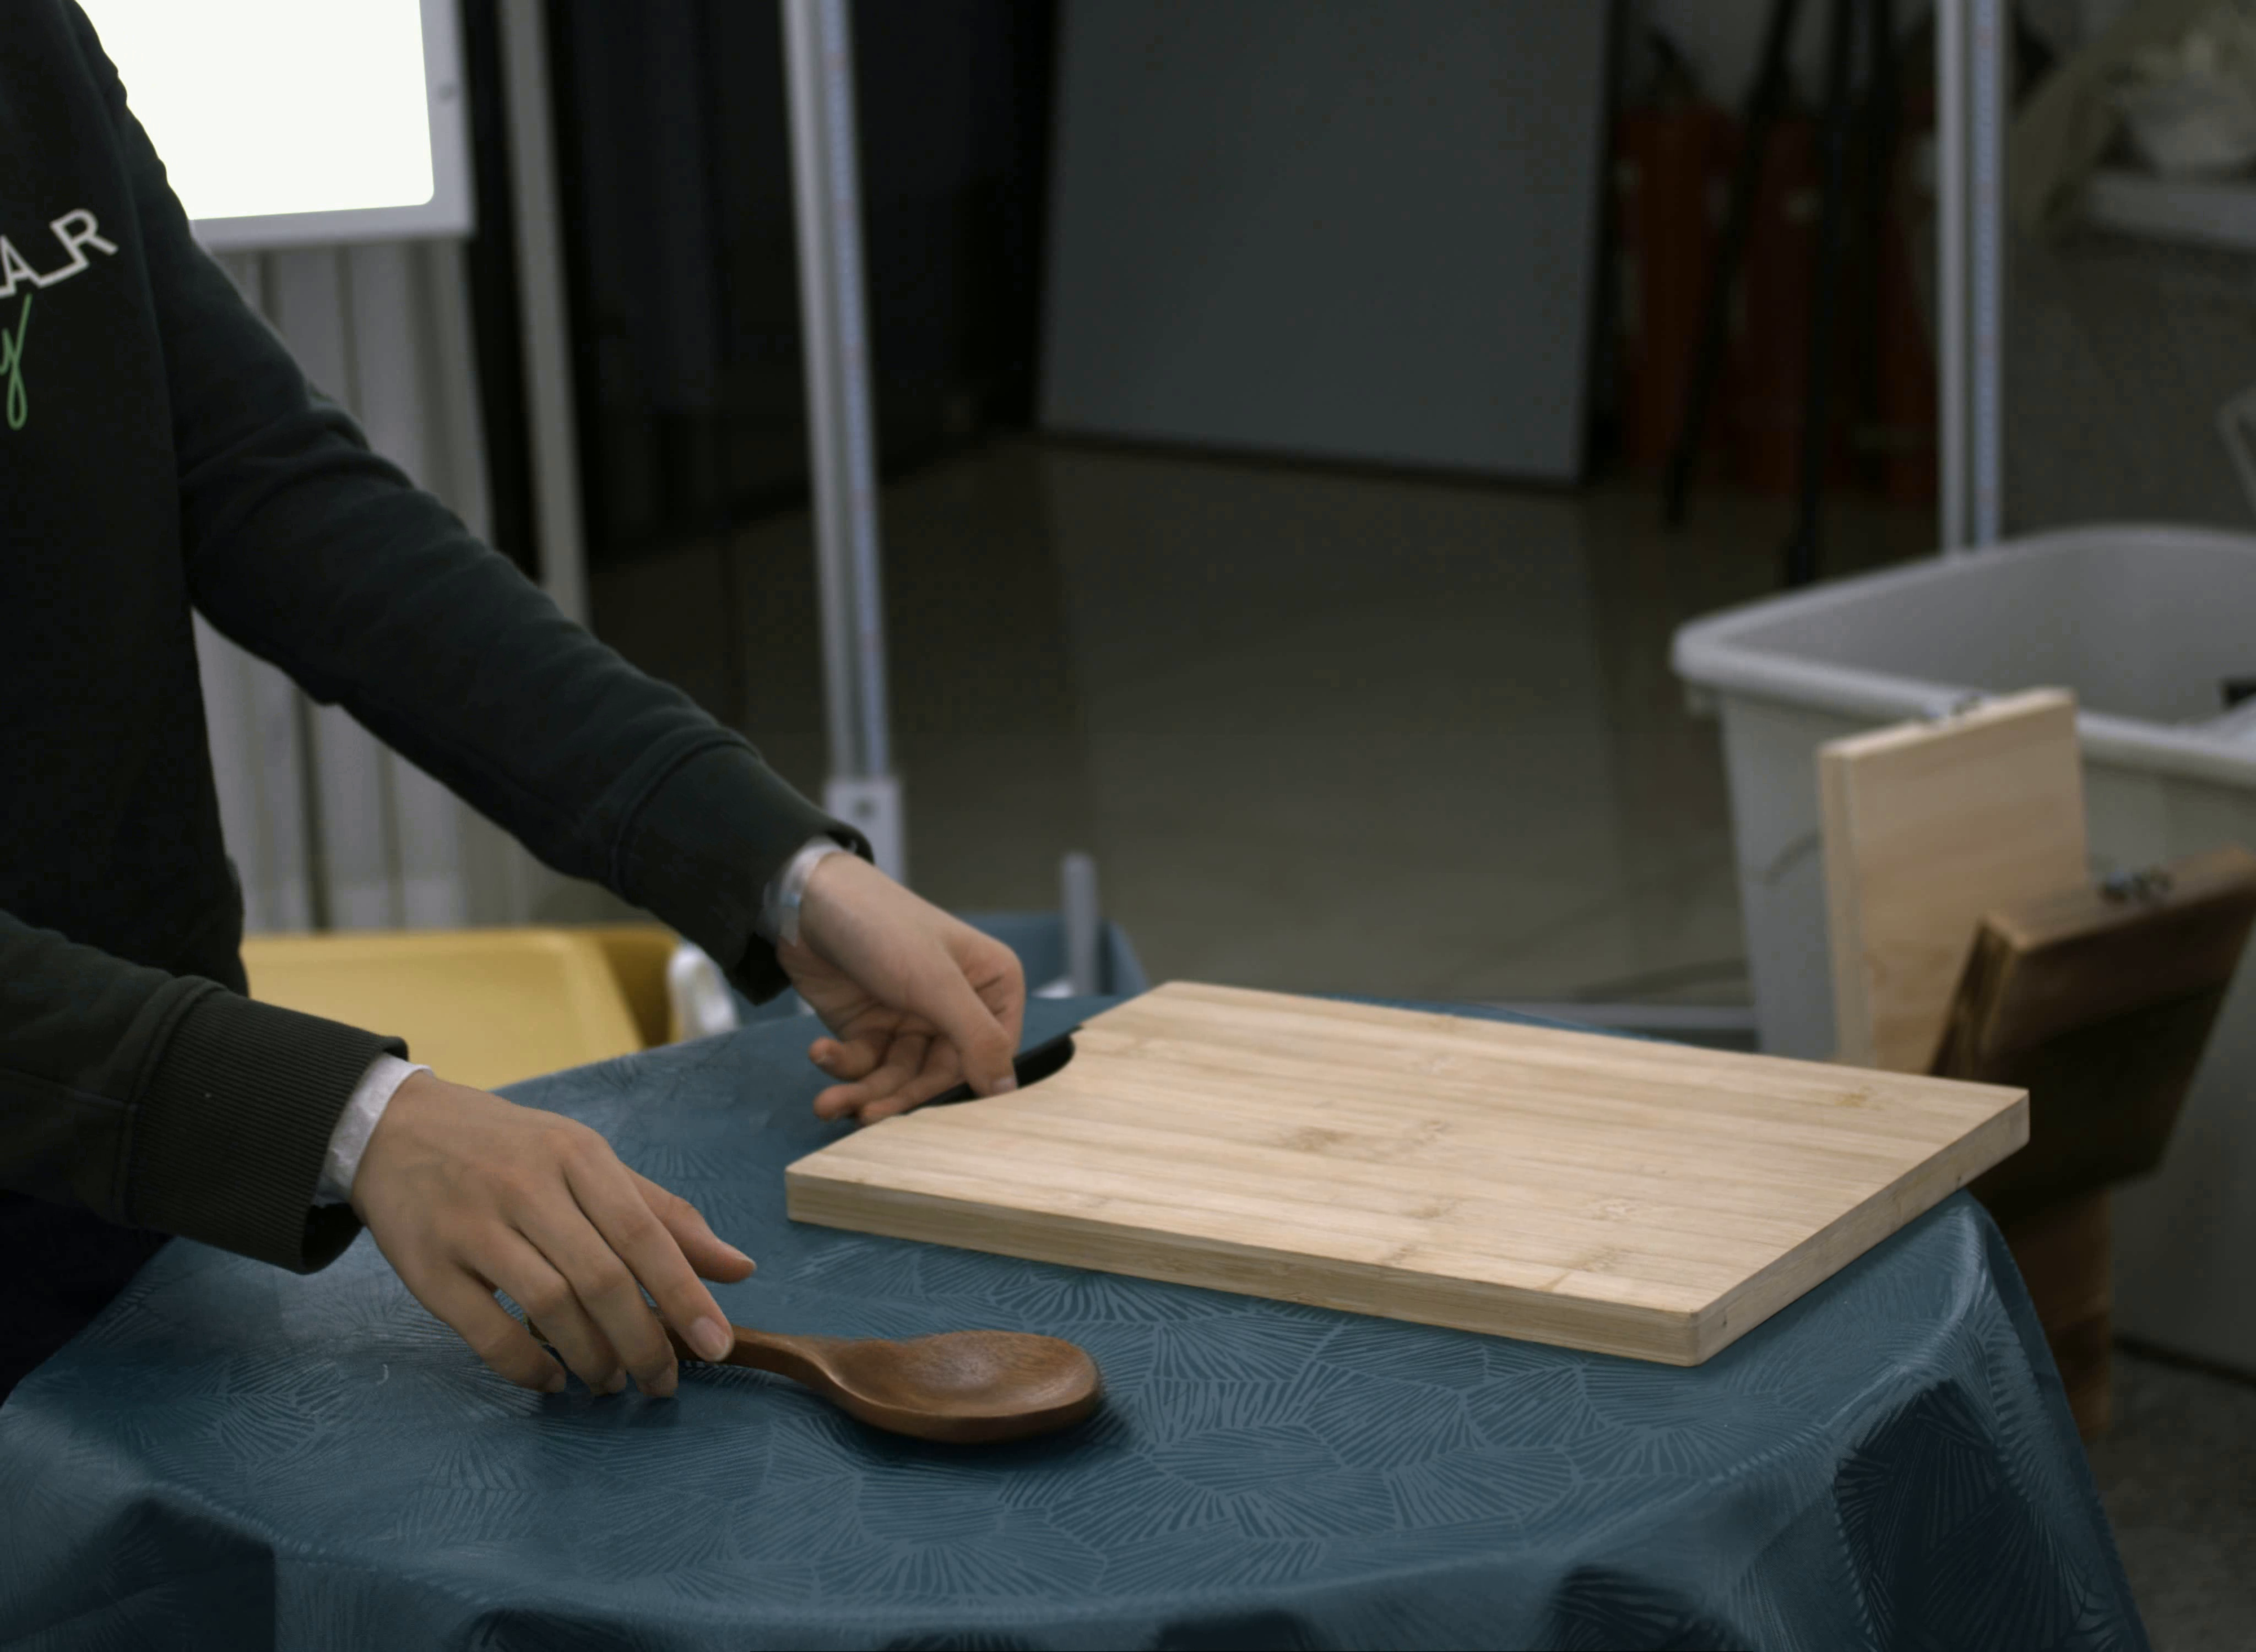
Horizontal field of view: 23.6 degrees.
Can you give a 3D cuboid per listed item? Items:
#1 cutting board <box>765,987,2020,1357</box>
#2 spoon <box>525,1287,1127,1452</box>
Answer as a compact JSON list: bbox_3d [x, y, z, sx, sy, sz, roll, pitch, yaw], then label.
[{"bbox_3d":[0.086,0.108,1.765,0.350,0.024,0.246,5,16,33],"label":"cutting board"},{"bbox_3d":[-0.094,0.160,1.605,0.217,0.017,0.074,7,19,35],"label":"spoon"}]
